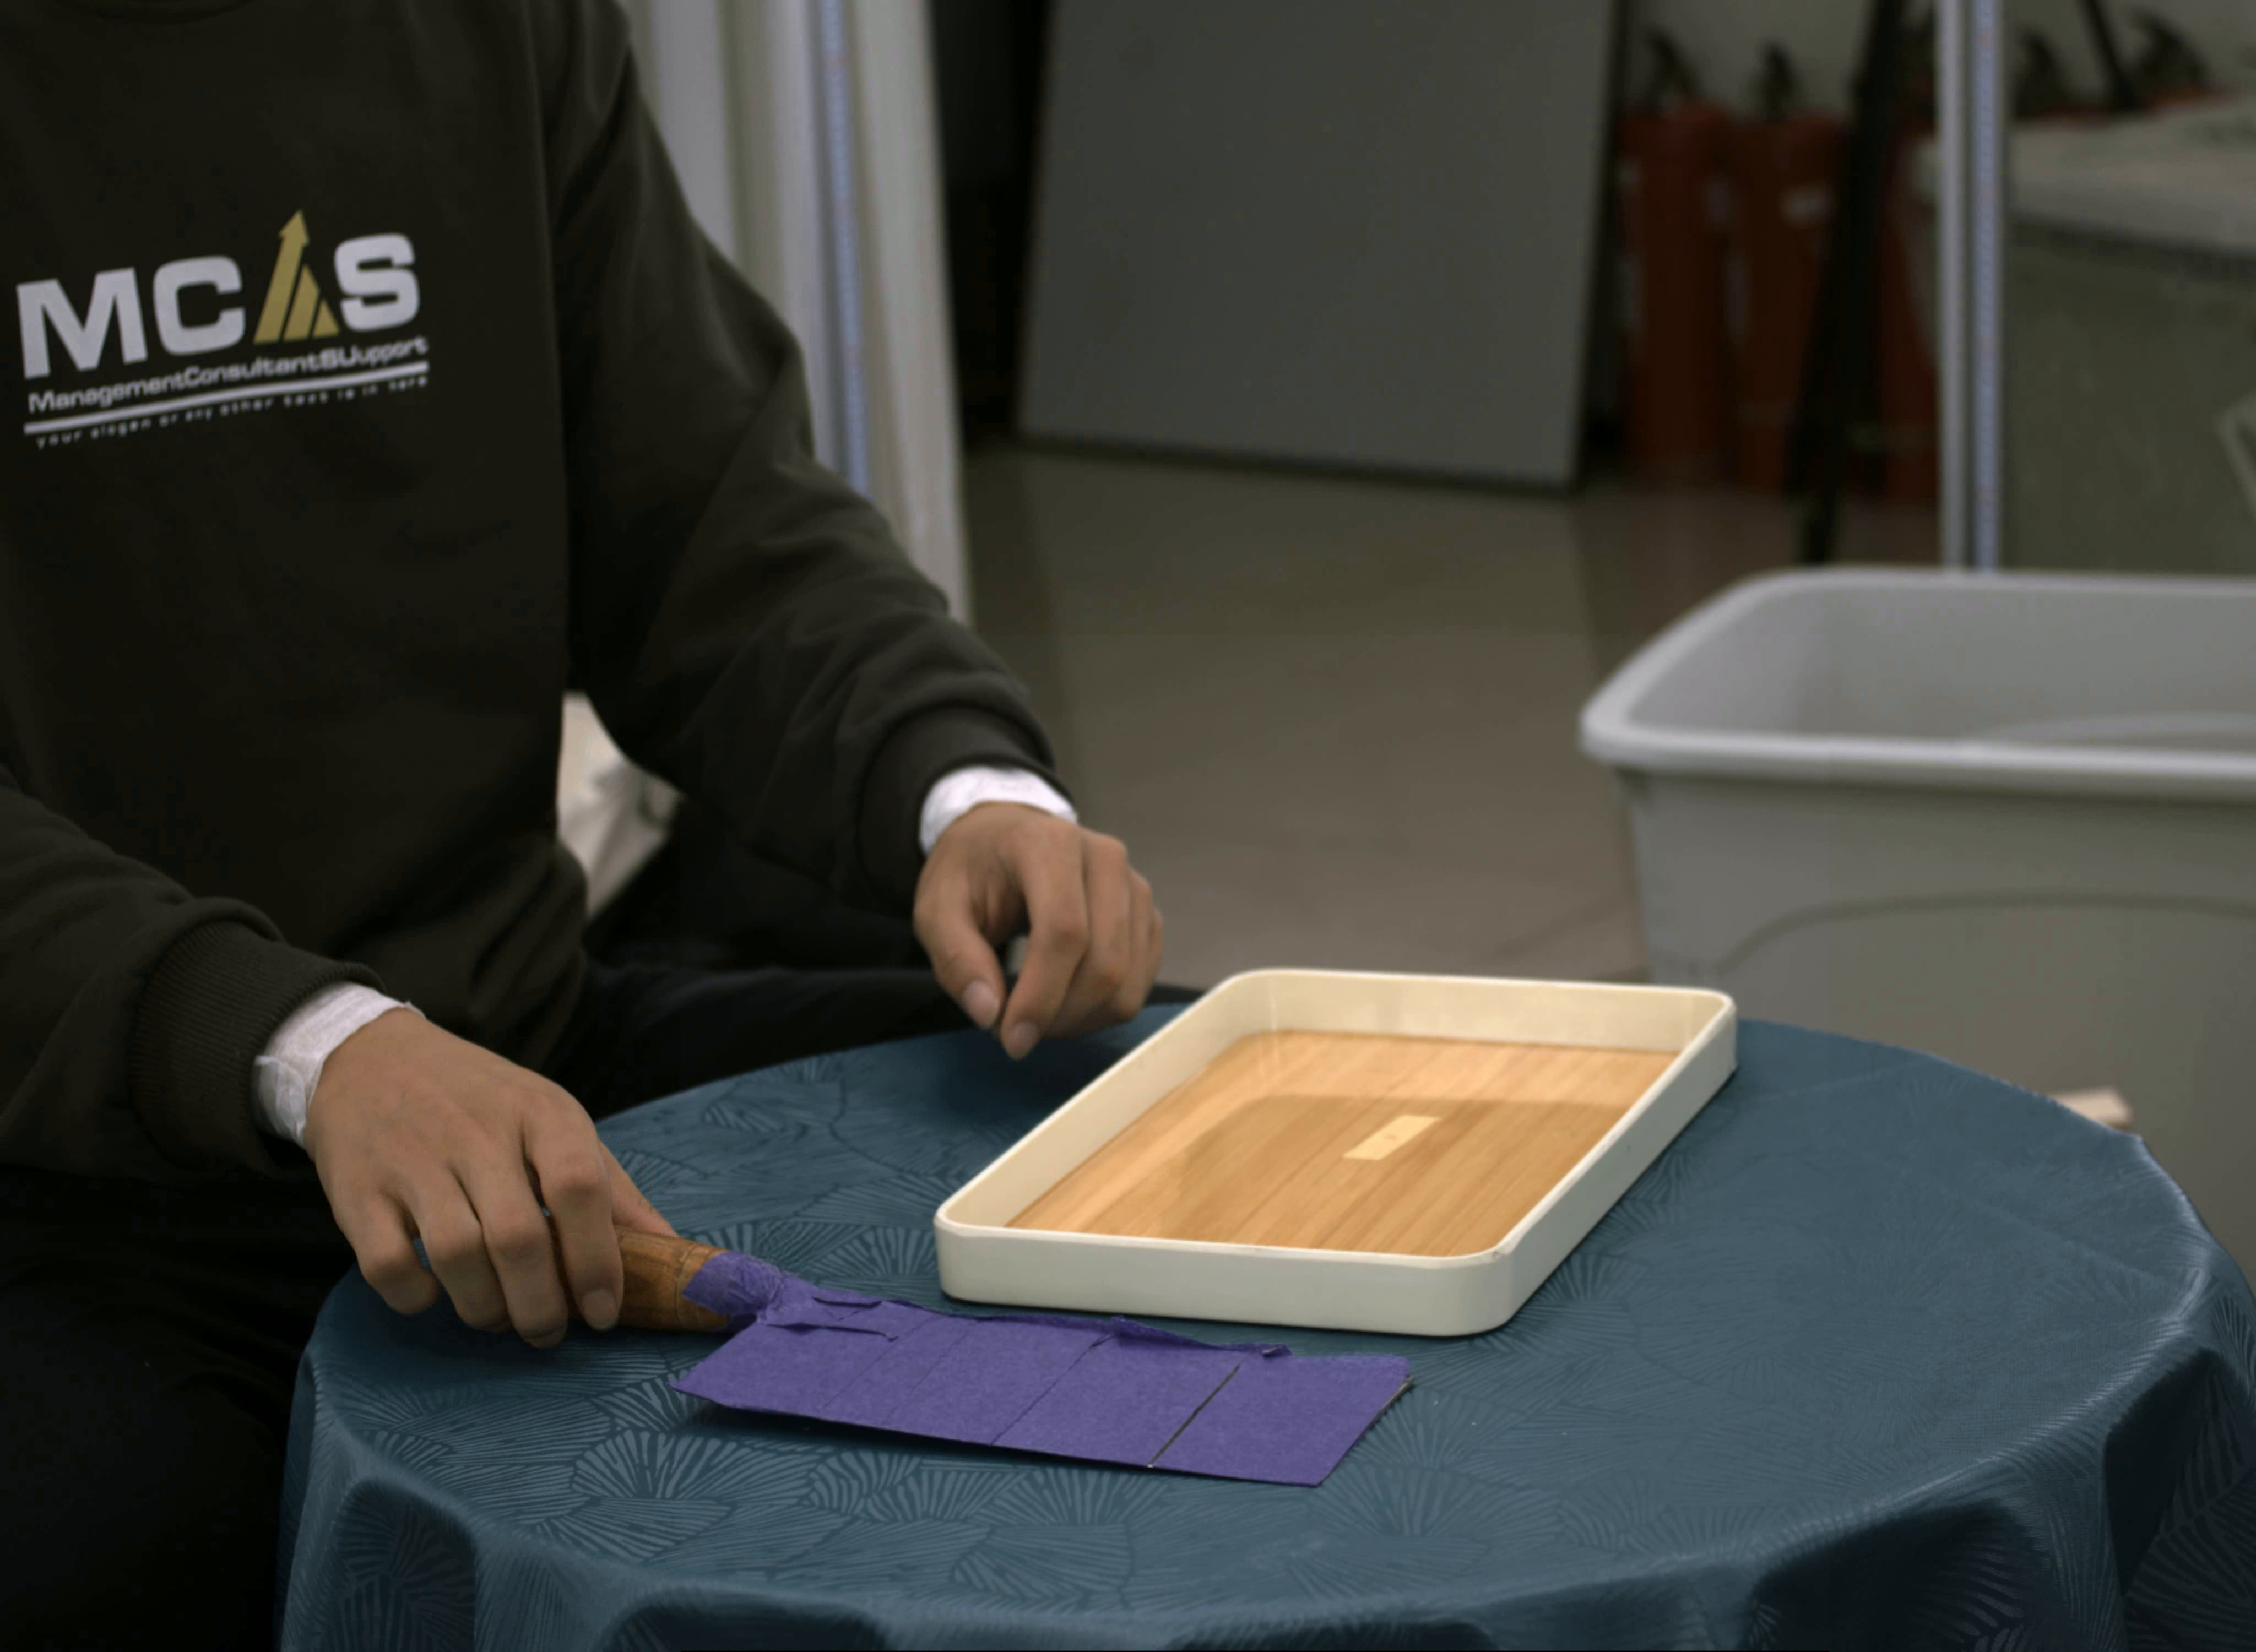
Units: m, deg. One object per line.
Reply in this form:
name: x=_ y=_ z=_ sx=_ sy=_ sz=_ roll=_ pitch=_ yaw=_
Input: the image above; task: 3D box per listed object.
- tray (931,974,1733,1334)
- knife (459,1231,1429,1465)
tray: x=0.074 y=0.103 z=1.769 sx=0.191 sy=0.028 sz=0.297 roll=1 pitch=14 yaw=22
knife: x=-0.071 y=0.154 z=1.600 sx=0.315 sy=0.032 sz=0.102 roll=2 pitch=14 yaw=24
